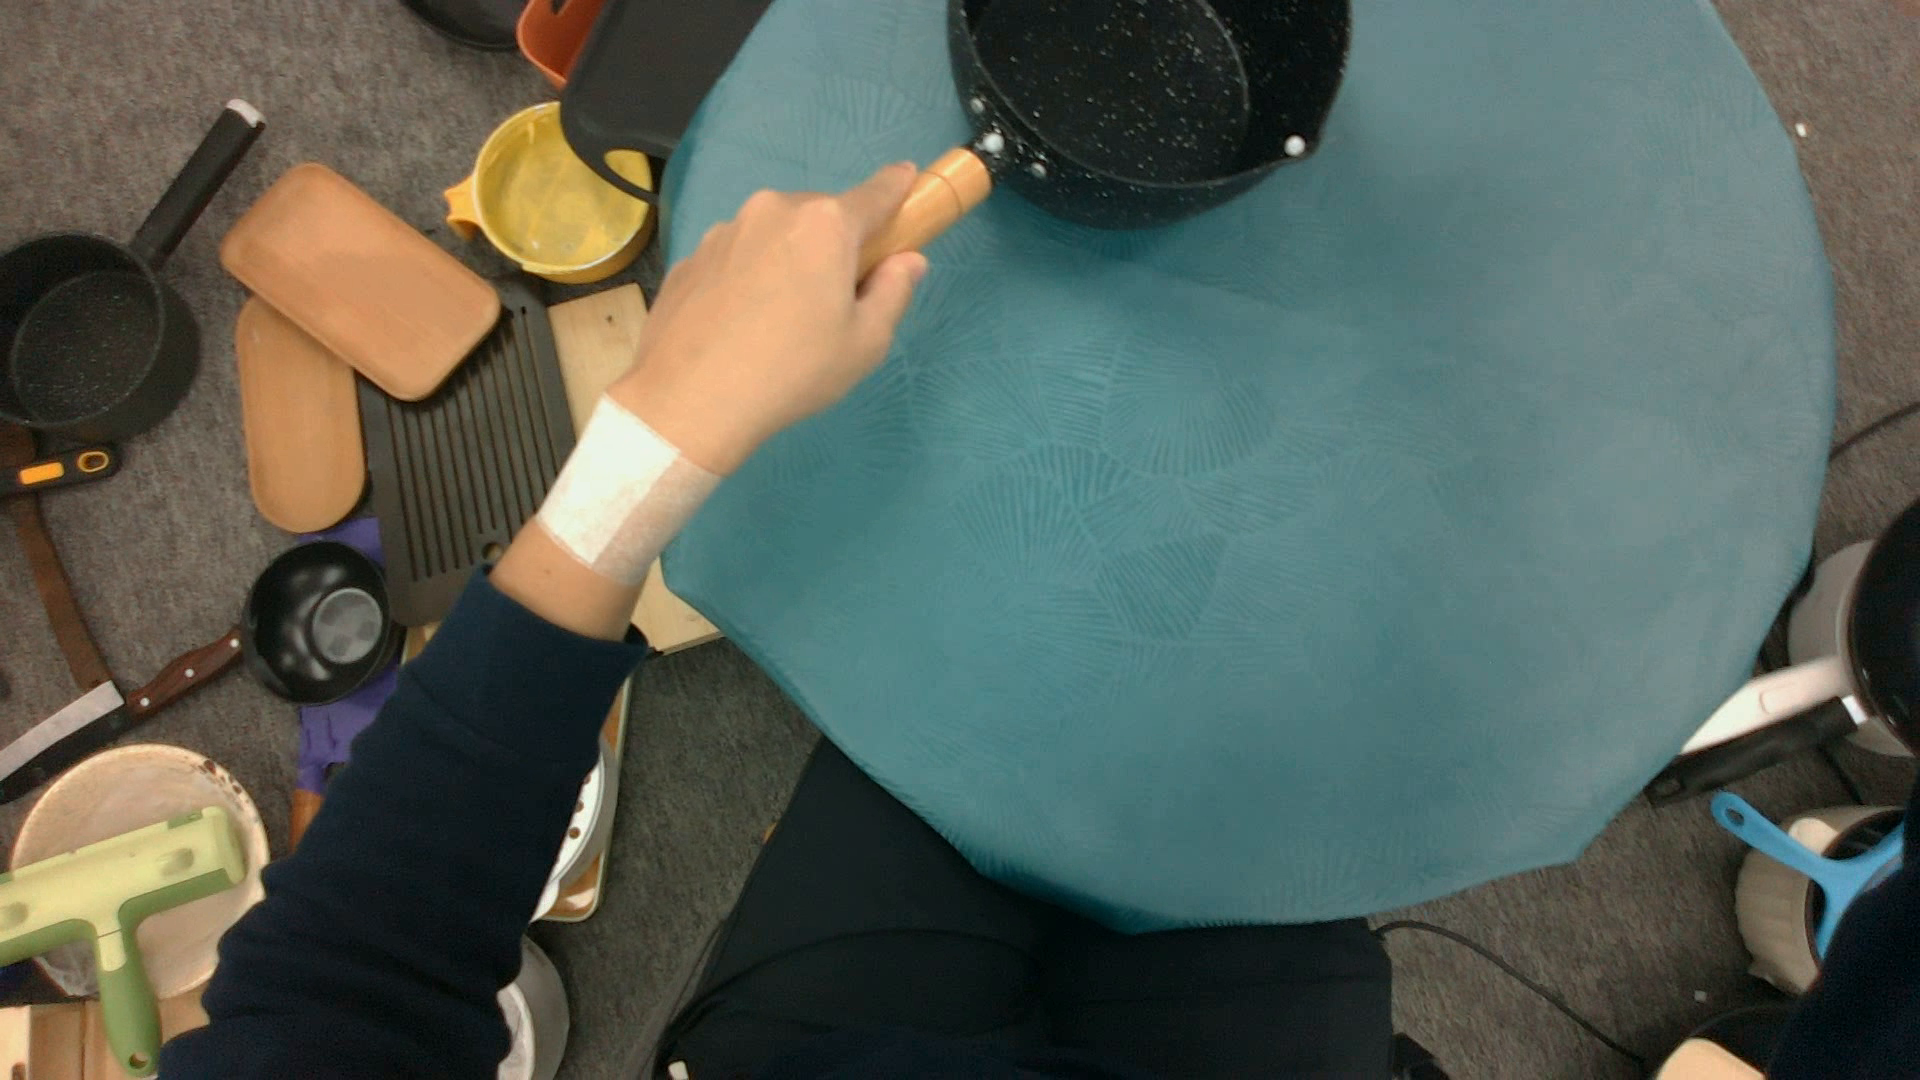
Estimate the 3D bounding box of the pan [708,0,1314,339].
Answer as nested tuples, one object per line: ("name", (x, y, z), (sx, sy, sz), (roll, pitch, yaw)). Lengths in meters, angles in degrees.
("pan", (0.015, -0.192, 0.626), (0.207, 0.108, 0.344), (43, 73, -1))
